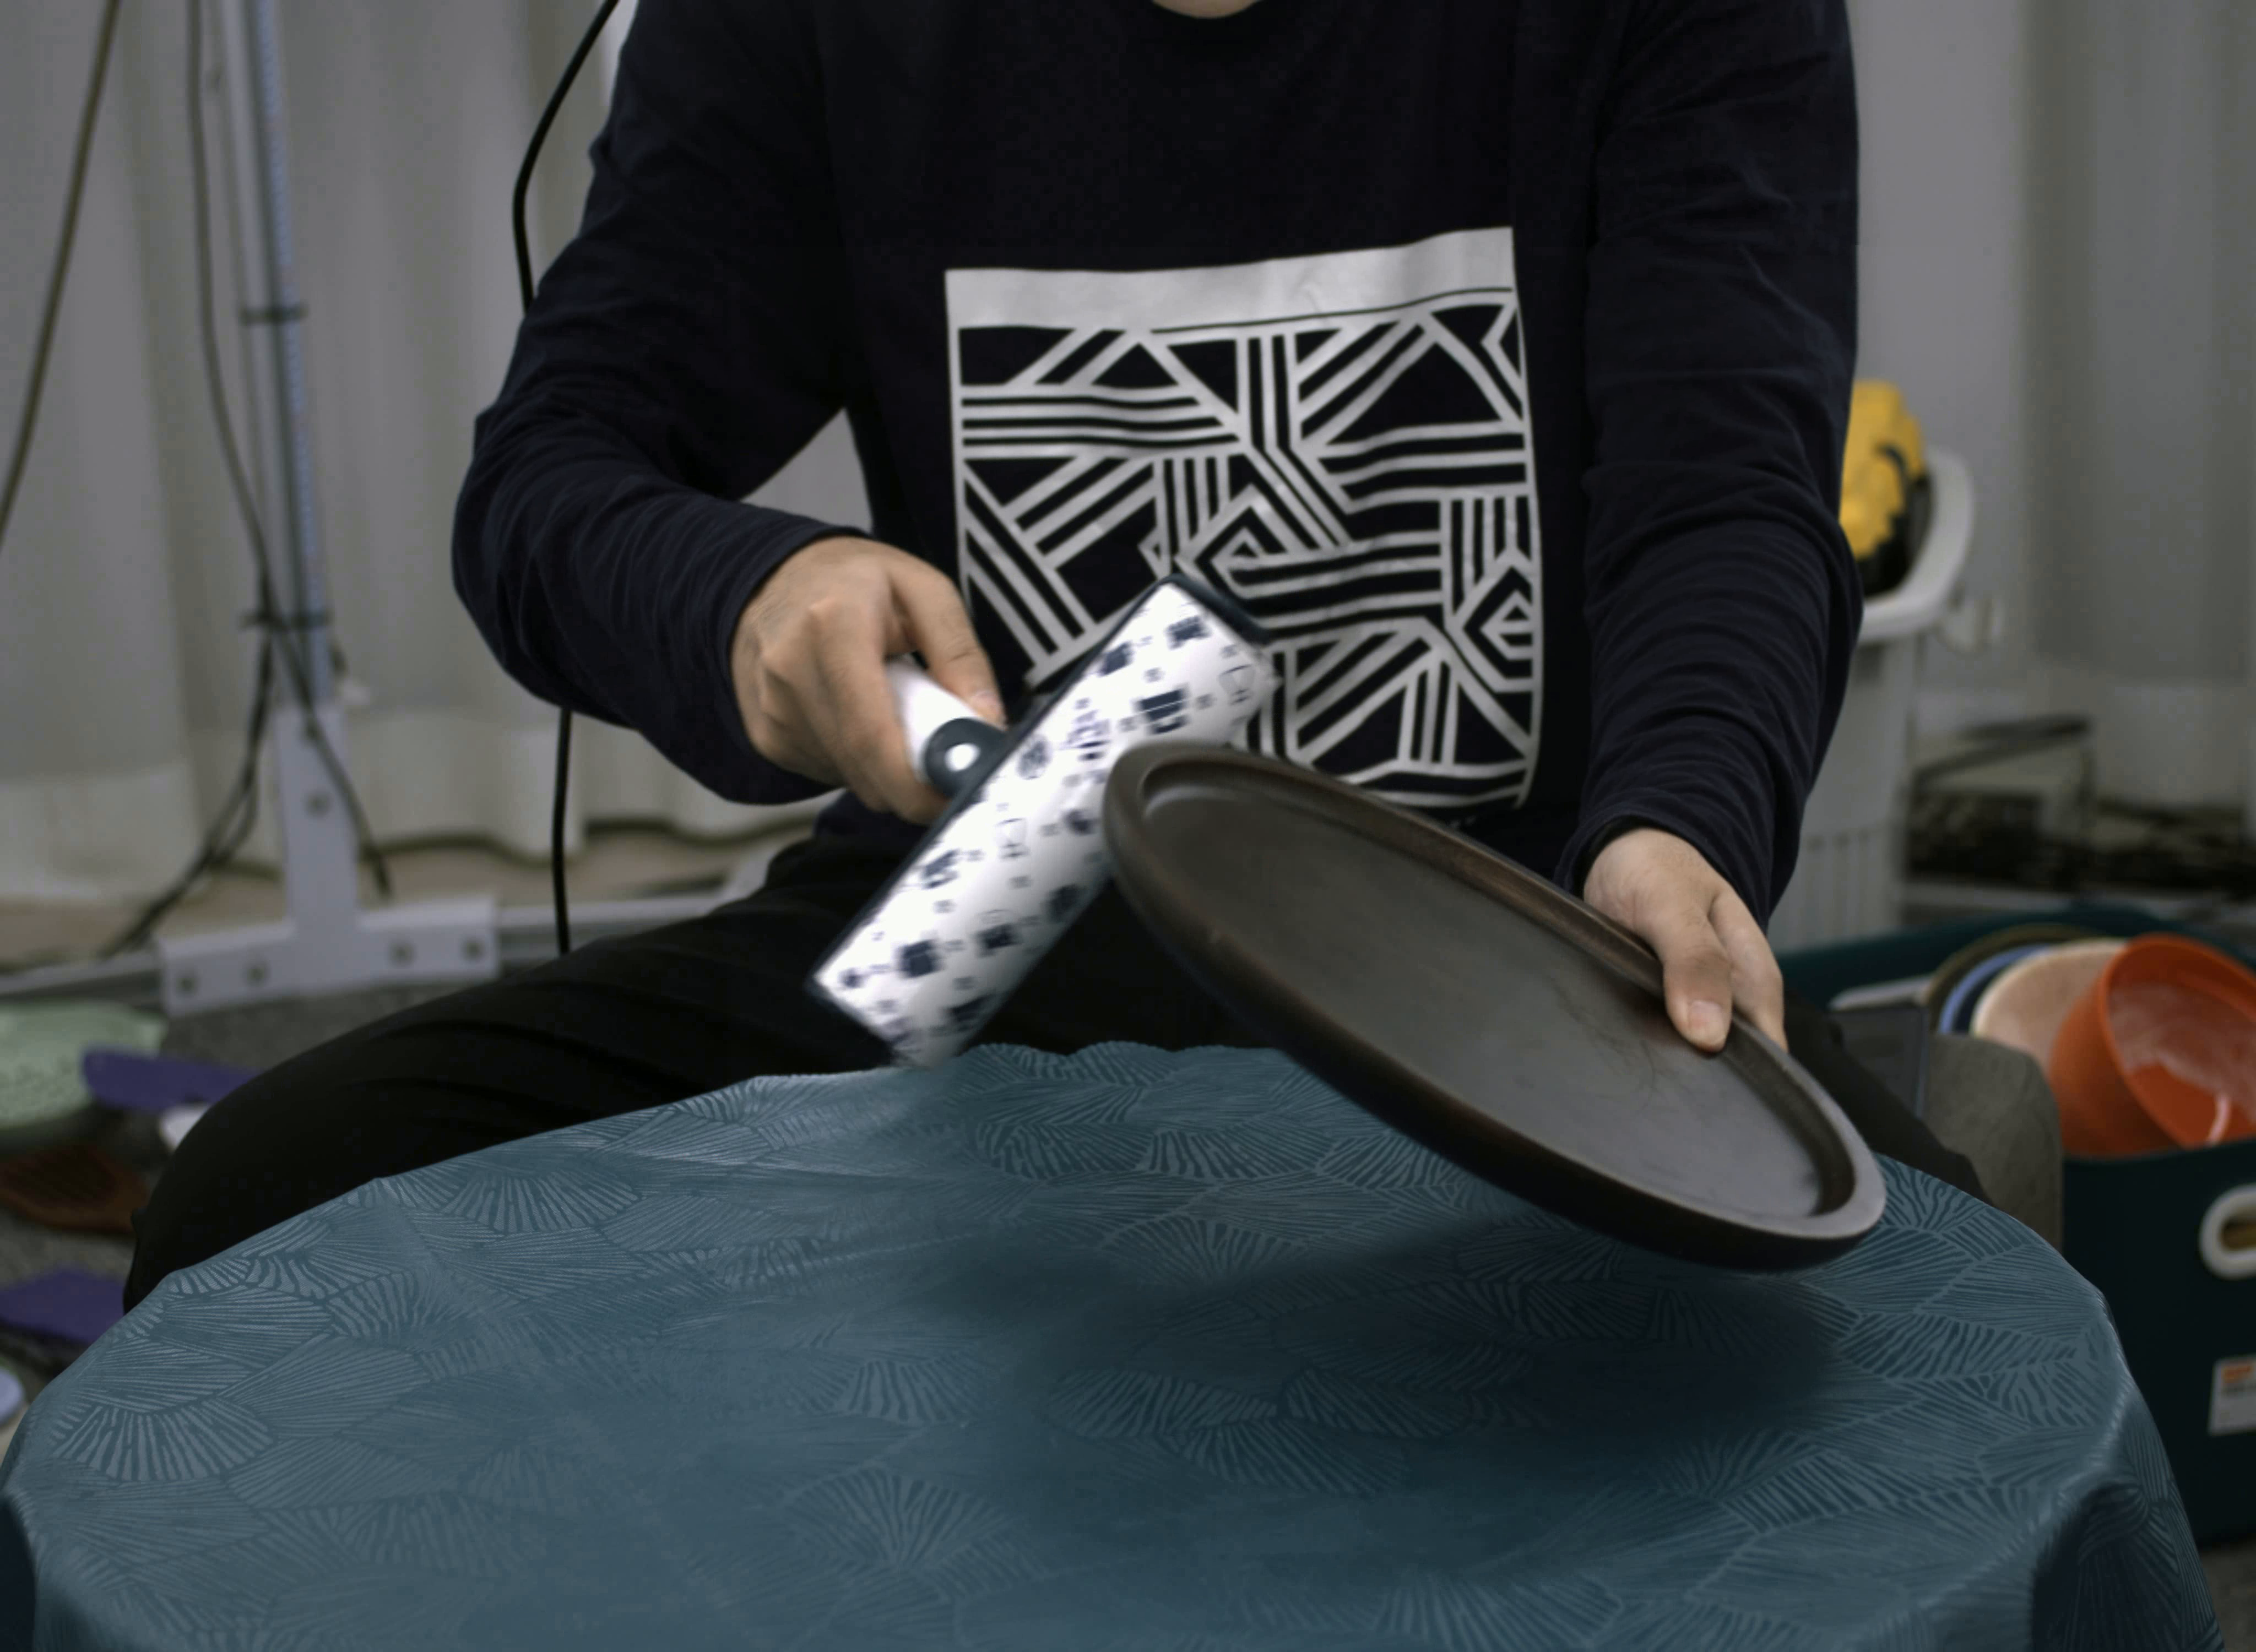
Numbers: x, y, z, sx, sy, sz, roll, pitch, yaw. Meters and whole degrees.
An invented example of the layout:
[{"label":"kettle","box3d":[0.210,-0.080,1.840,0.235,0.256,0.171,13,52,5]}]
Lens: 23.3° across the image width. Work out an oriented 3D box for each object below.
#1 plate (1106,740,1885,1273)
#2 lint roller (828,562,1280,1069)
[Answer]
[{"label":"plate","box3d":[0.102,0.050,1.553,0.253,0.029,0.256,30,14,-8]},{"label":"lint roller","box3d":[-0.054,-0.025,1.749,0.050,0.176,0.249,40,-3,-24]}]
